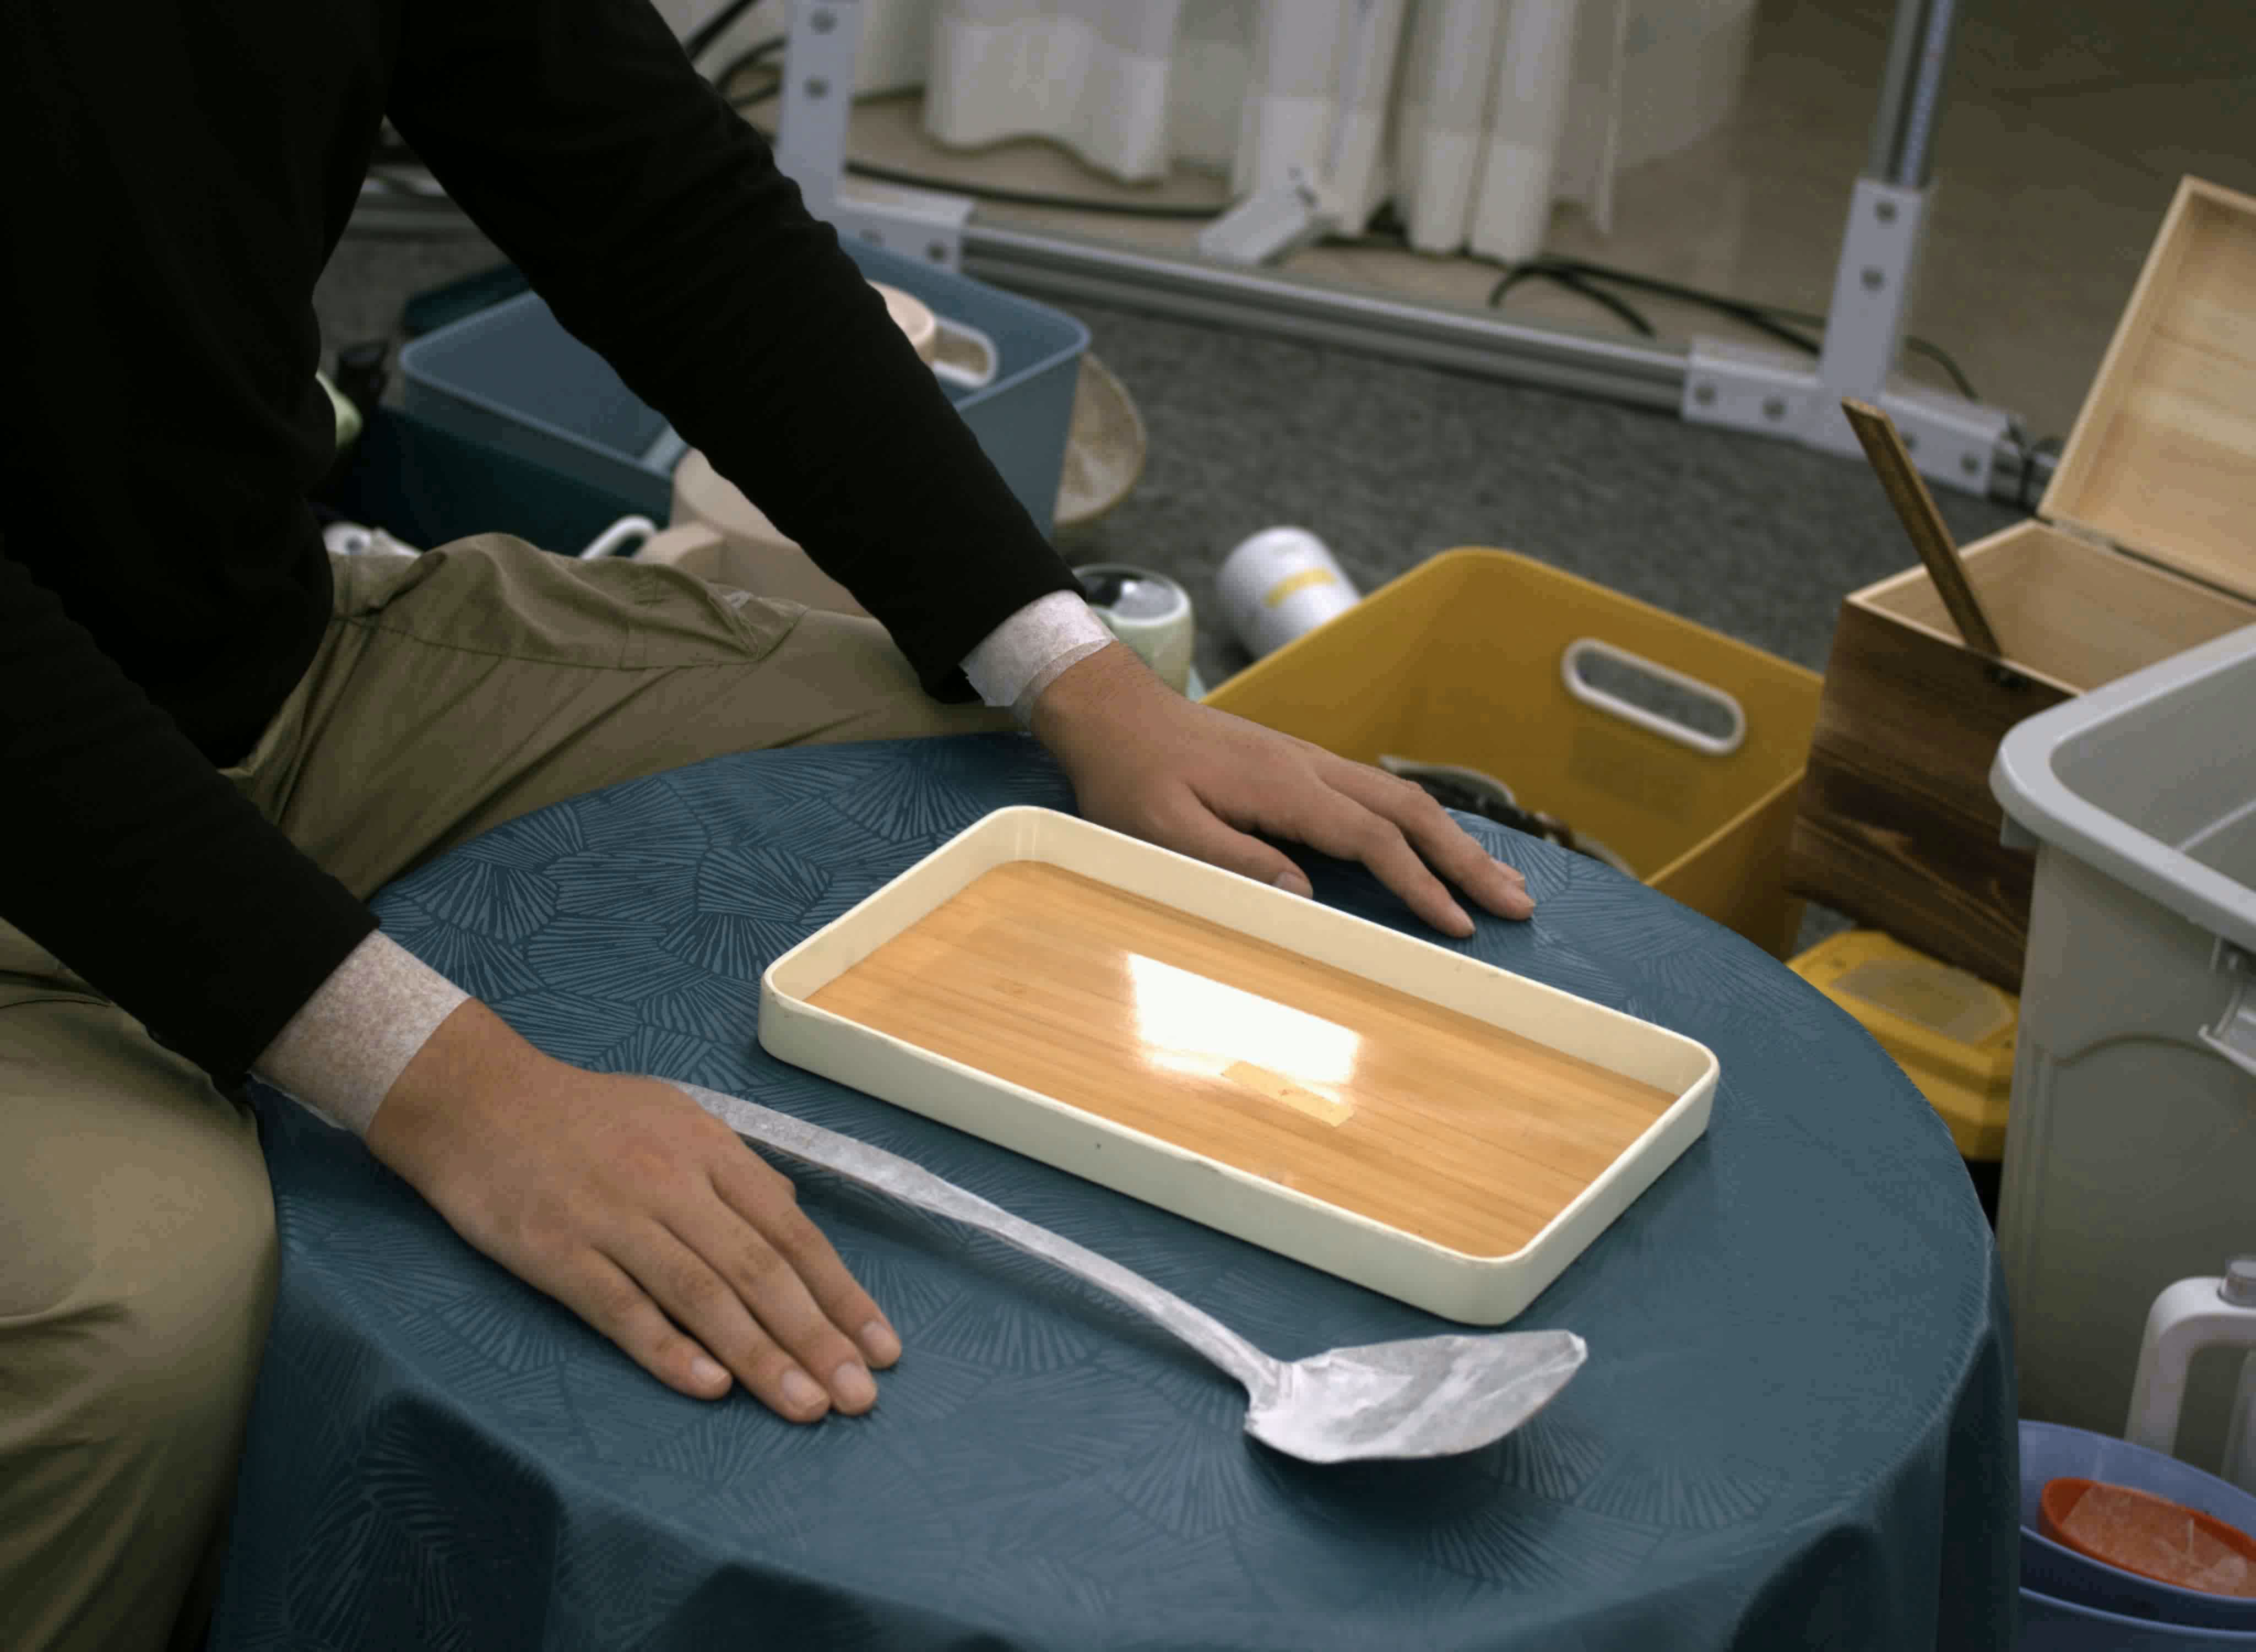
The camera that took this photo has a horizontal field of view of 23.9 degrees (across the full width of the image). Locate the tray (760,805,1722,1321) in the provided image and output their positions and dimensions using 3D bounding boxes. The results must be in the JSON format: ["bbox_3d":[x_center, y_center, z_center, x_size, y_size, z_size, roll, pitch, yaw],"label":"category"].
[{"bbox_3d":[0.039,0.079,1.869,0.301,0.027,0.191,20,30,24],"label":"tray"}]

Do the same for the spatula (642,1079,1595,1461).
[{"bbox_3d":[-0.021,0.135,1.732,0.367,0.044,0.098,22,31,28],"label":"spatula"}]
